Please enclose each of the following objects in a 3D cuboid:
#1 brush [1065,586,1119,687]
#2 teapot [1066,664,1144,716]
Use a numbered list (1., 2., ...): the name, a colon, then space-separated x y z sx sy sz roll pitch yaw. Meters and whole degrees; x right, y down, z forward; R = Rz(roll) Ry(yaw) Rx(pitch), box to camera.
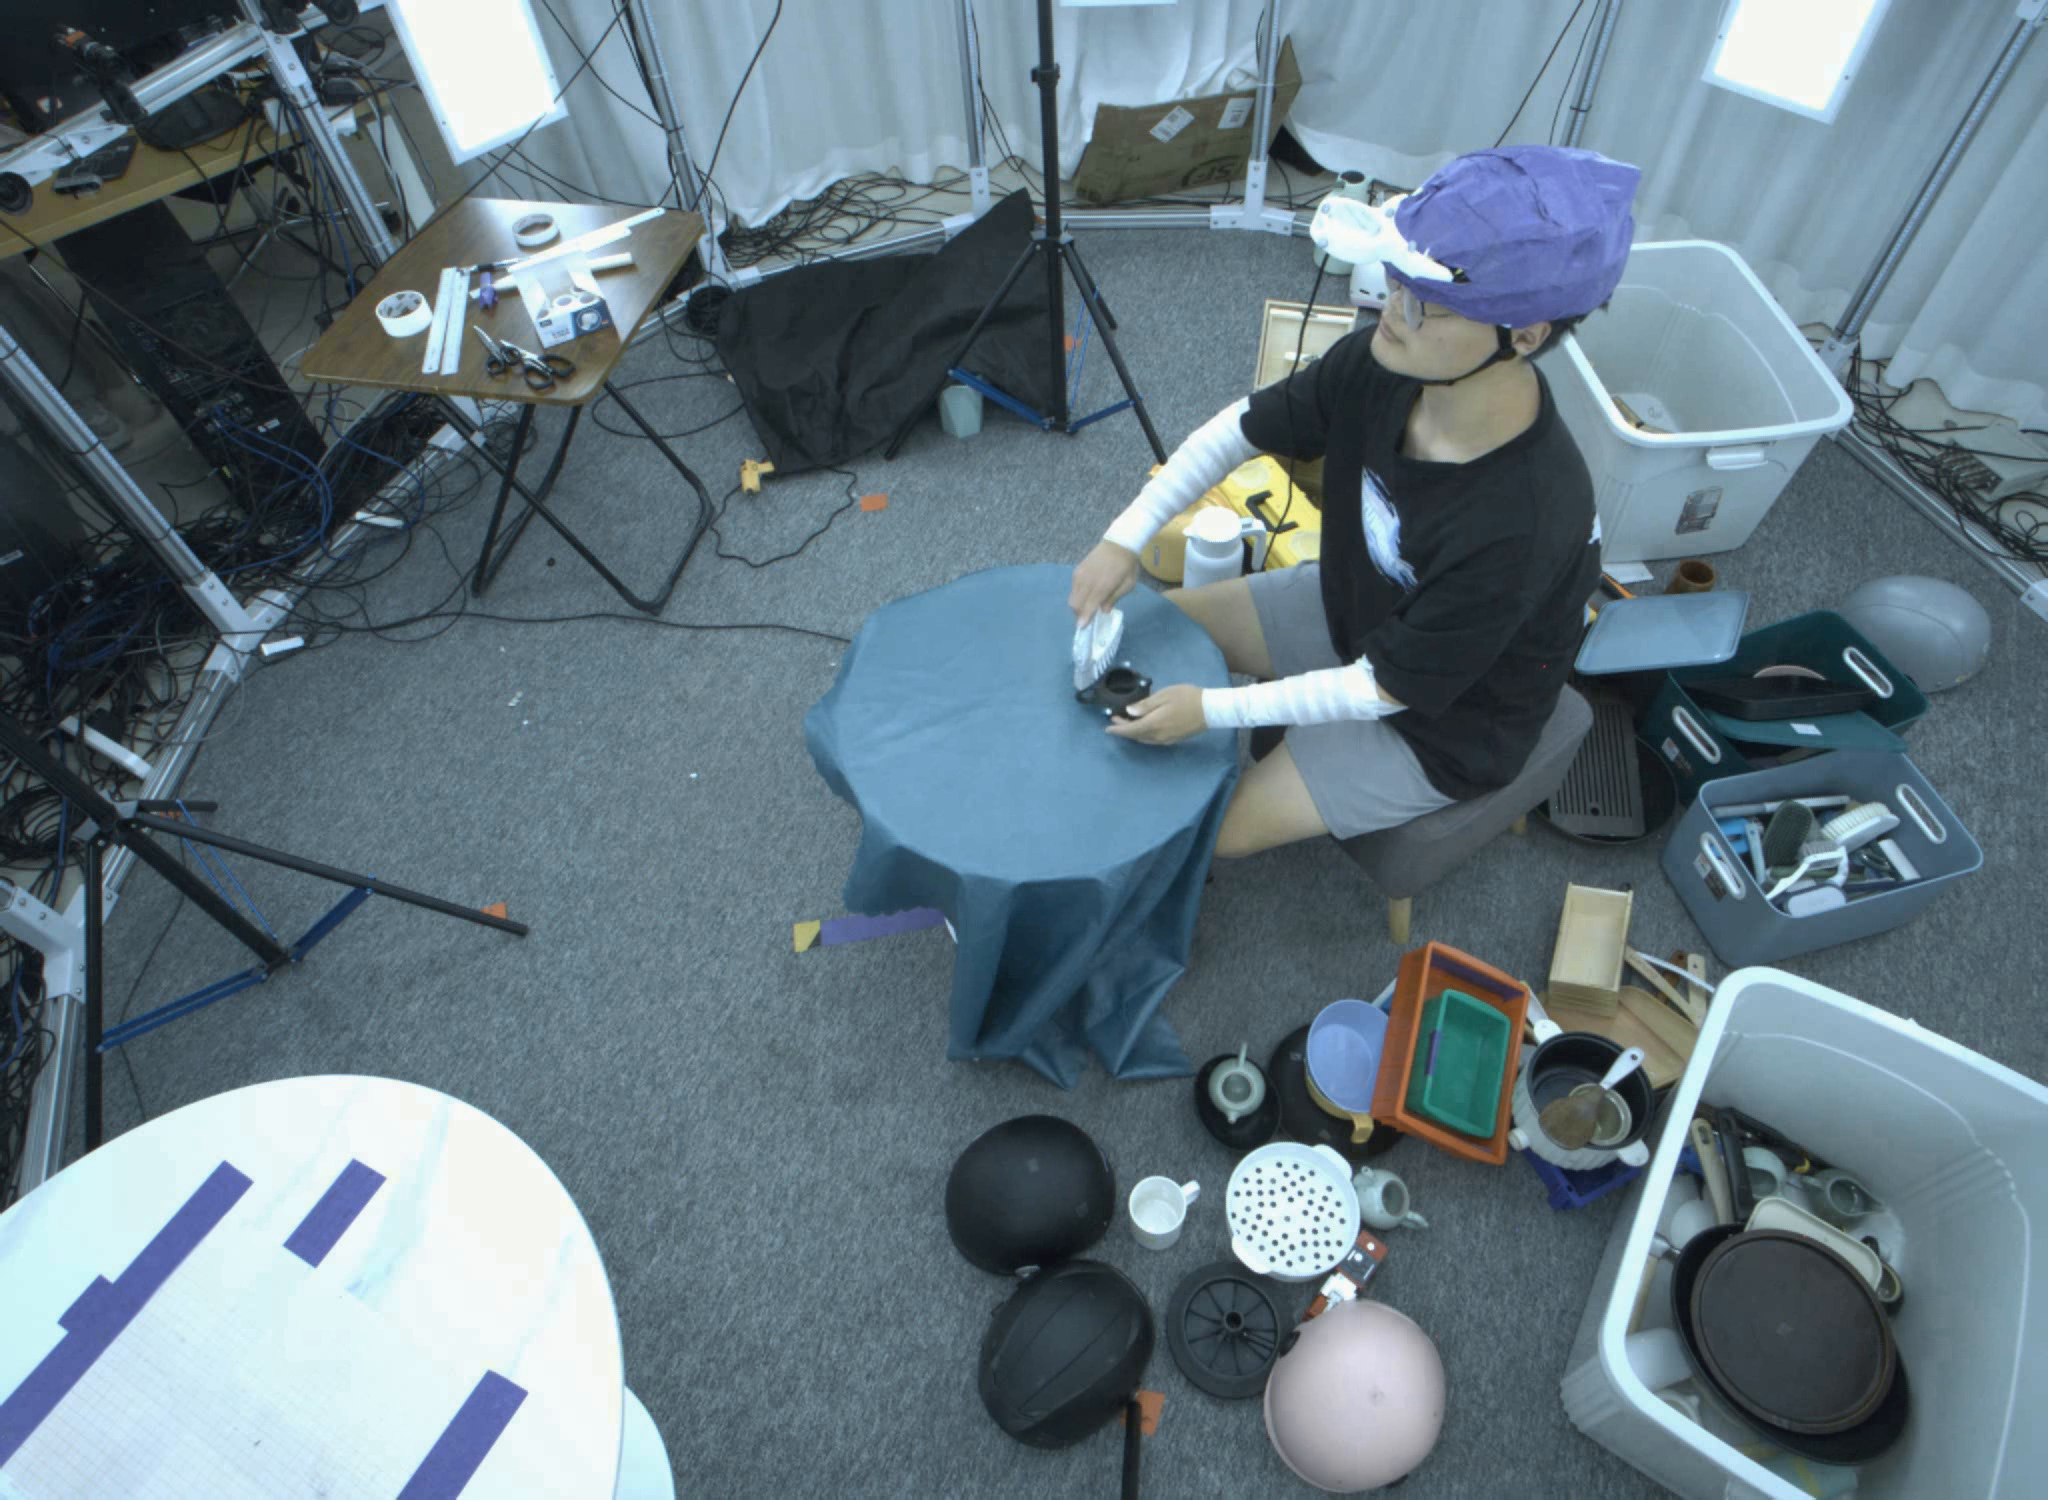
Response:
1. brush: 0.090 -0.175 1.807 0.060 0.095 0.175 1 39 21
2. teapot: 0.118 -0.088 1.806 0.114 0.053 0.082 -5 54 -3
